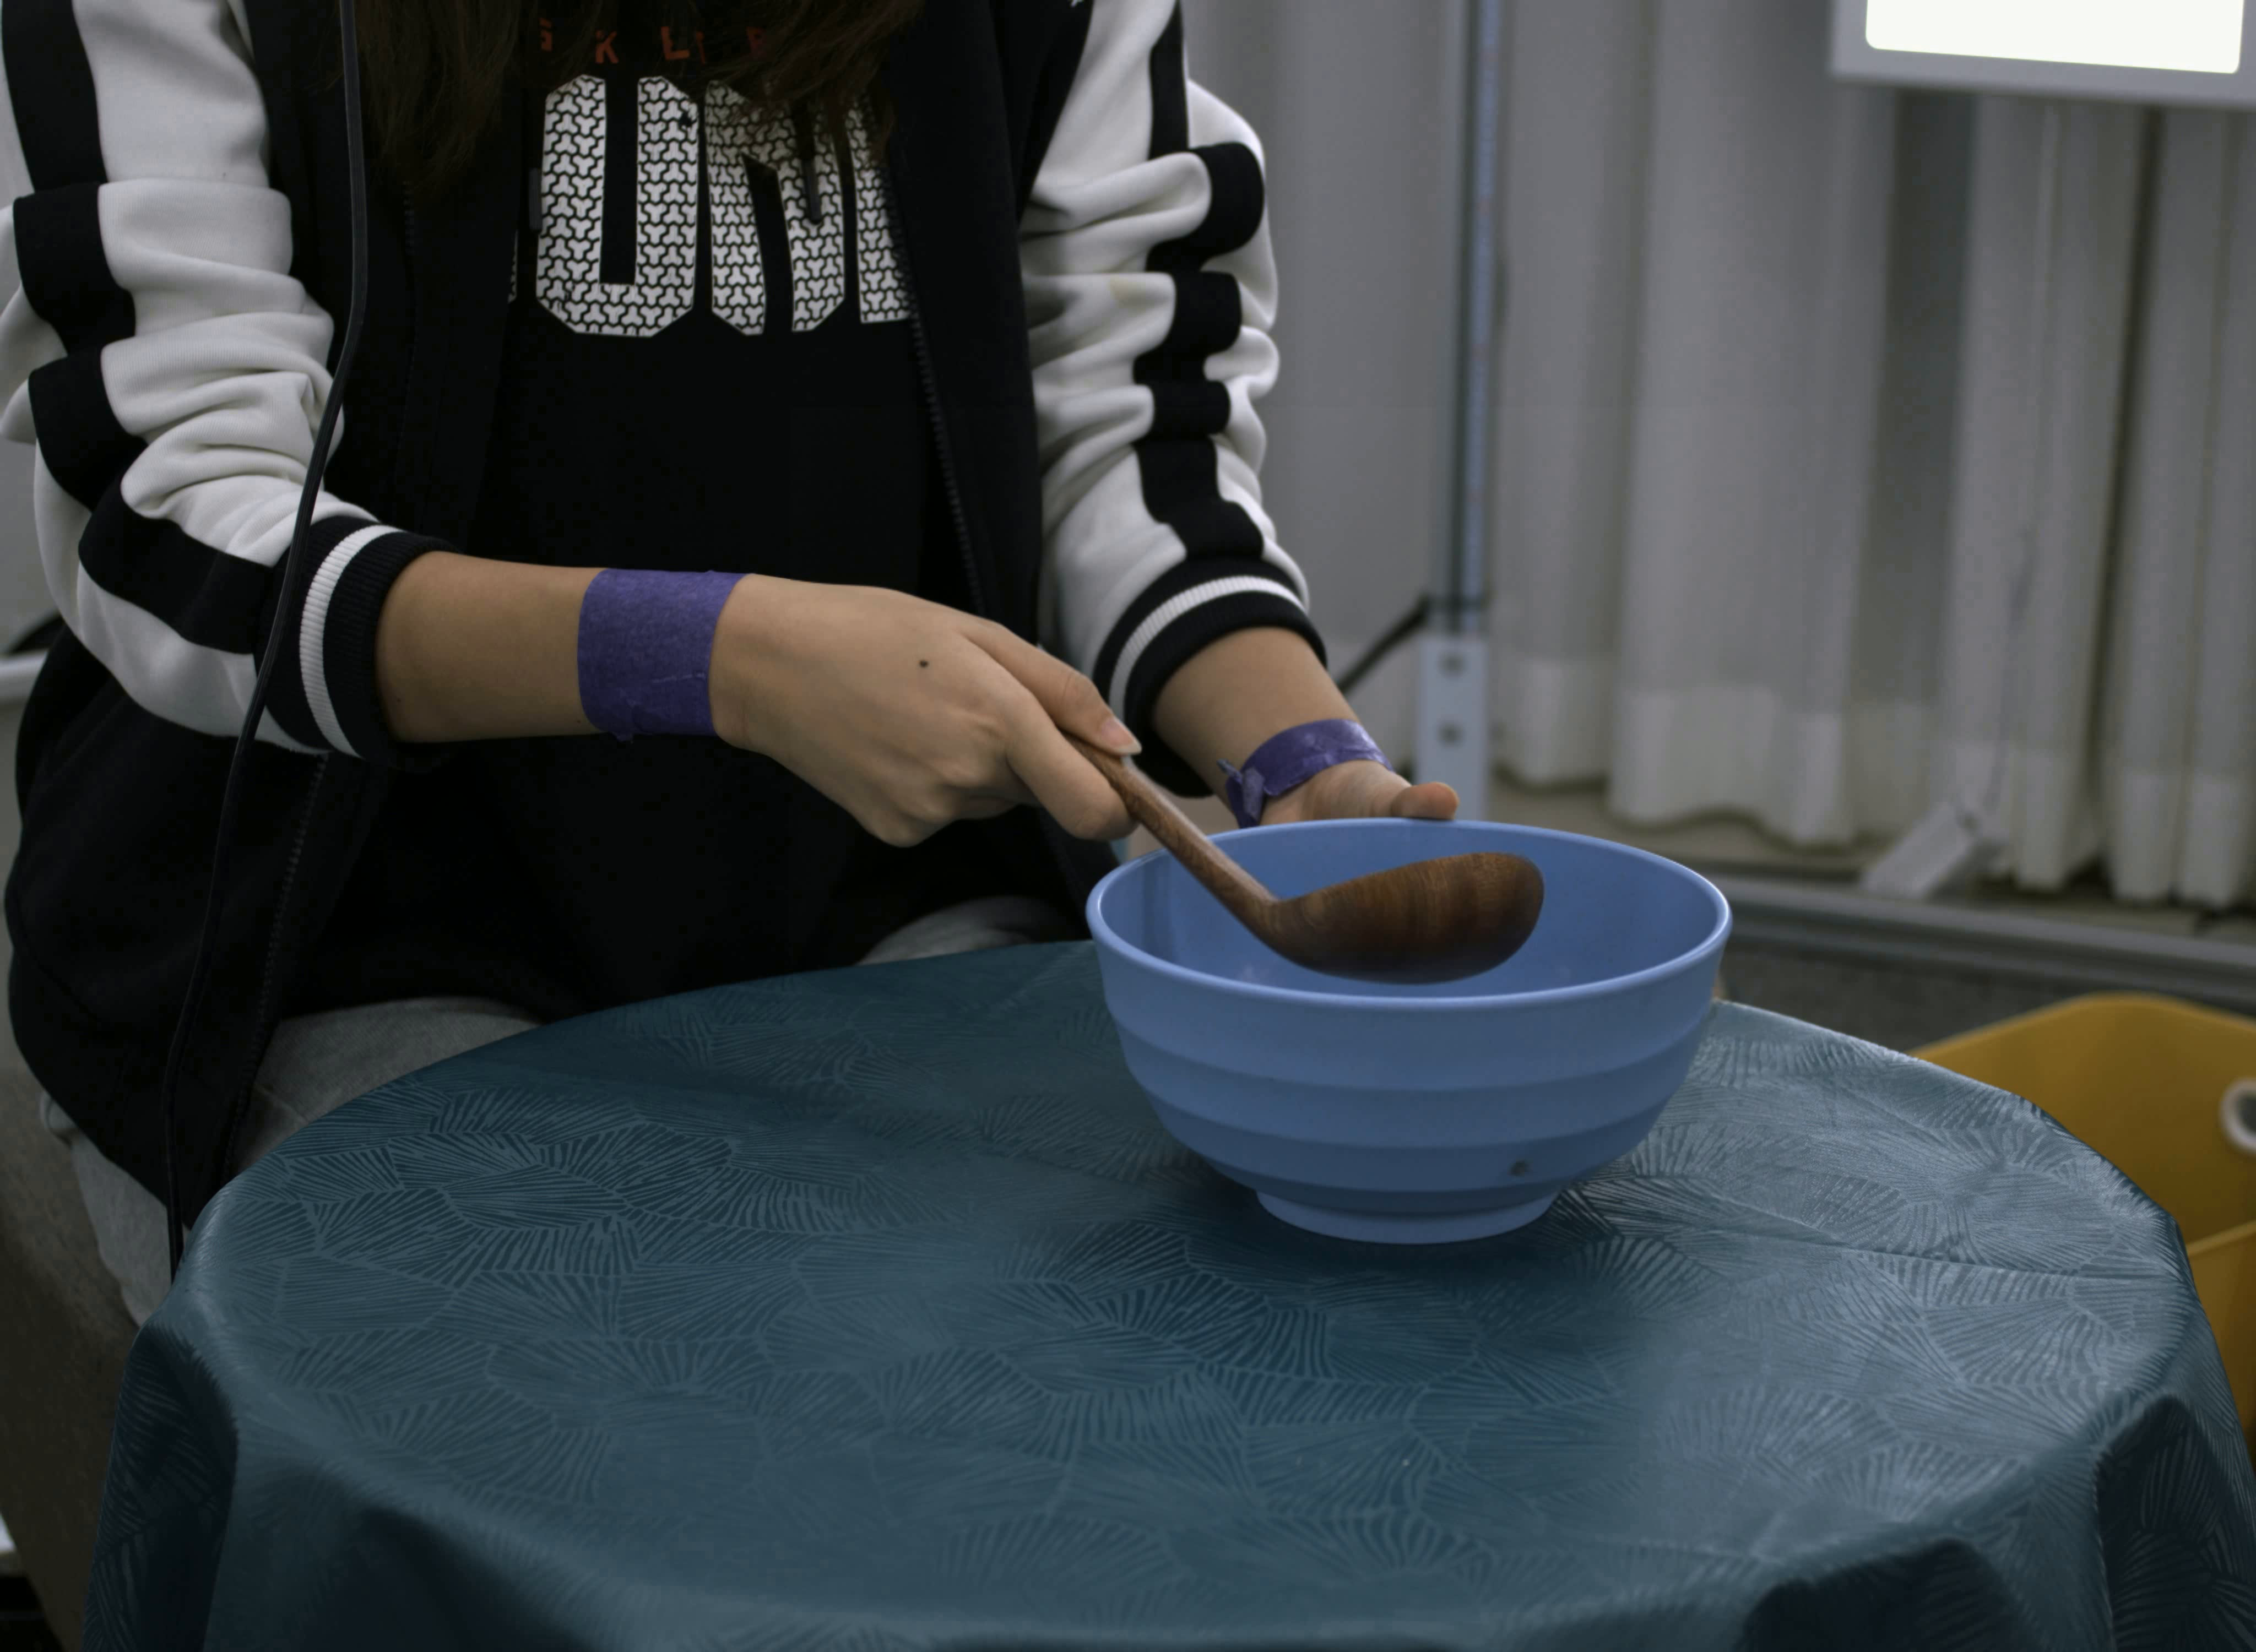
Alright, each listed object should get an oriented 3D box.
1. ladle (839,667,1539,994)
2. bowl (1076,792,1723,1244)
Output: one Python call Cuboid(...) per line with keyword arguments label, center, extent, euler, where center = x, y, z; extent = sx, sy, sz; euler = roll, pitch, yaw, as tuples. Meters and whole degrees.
Cuboid(label="ladle", center=(0.016, -0.014, 1.636), extent=(0.257, 0.065, 0.077), euler=(30, 0, 32))
Cuboid(label="bowl", center=(0.084, 0.066, 1.614), extent=(0.196, 0.096, 0.195), euler=(-2, 21, 1))
